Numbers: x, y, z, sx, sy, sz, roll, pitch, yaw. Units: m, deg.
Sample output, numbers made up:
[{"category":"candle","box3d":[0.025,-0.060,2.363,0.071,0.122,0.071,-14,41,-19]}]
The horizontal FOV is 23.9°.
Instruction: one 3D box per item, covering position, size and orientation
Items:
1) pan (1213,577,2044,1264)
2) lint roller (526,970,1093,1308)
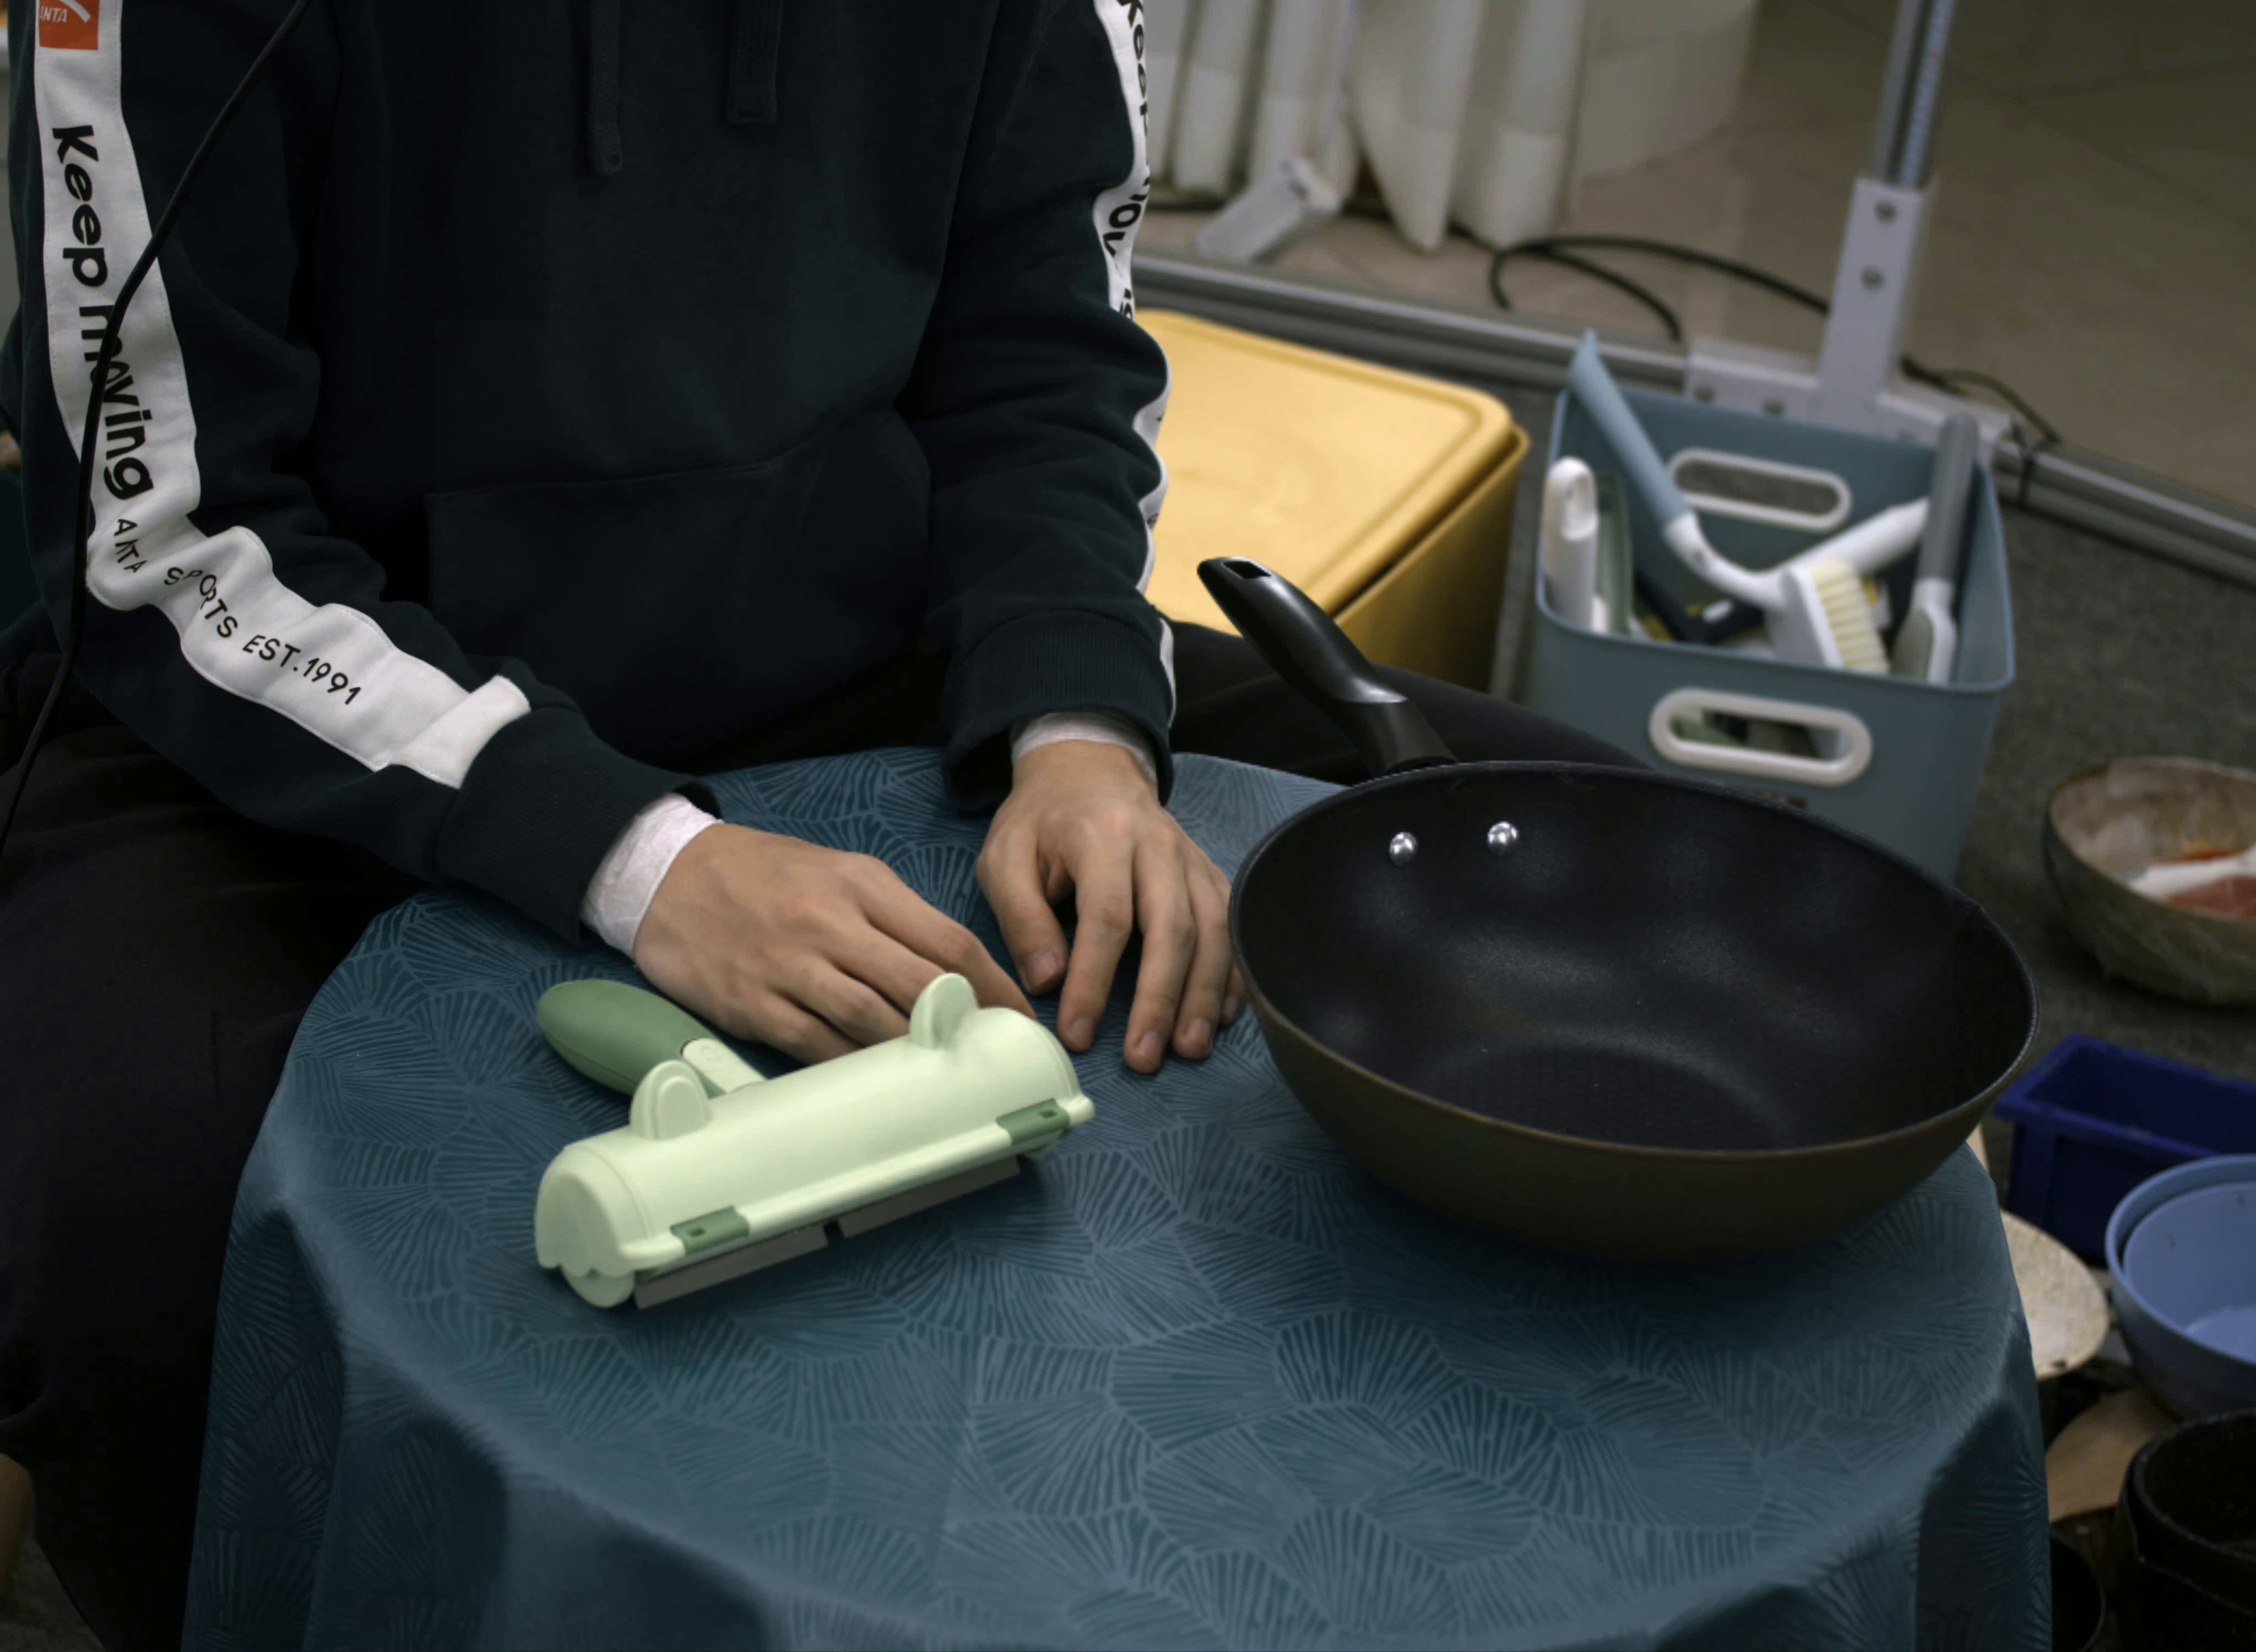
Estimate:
[{"category":"pan","box3d":[0.130,0.036,1.909,0.286,0.086,0.467,-6,28,-25]},{"category":"lint roller","box3d":[-0.138,0.075,1.780,0.197,0.082,0.185,-17,40,-37]}]
